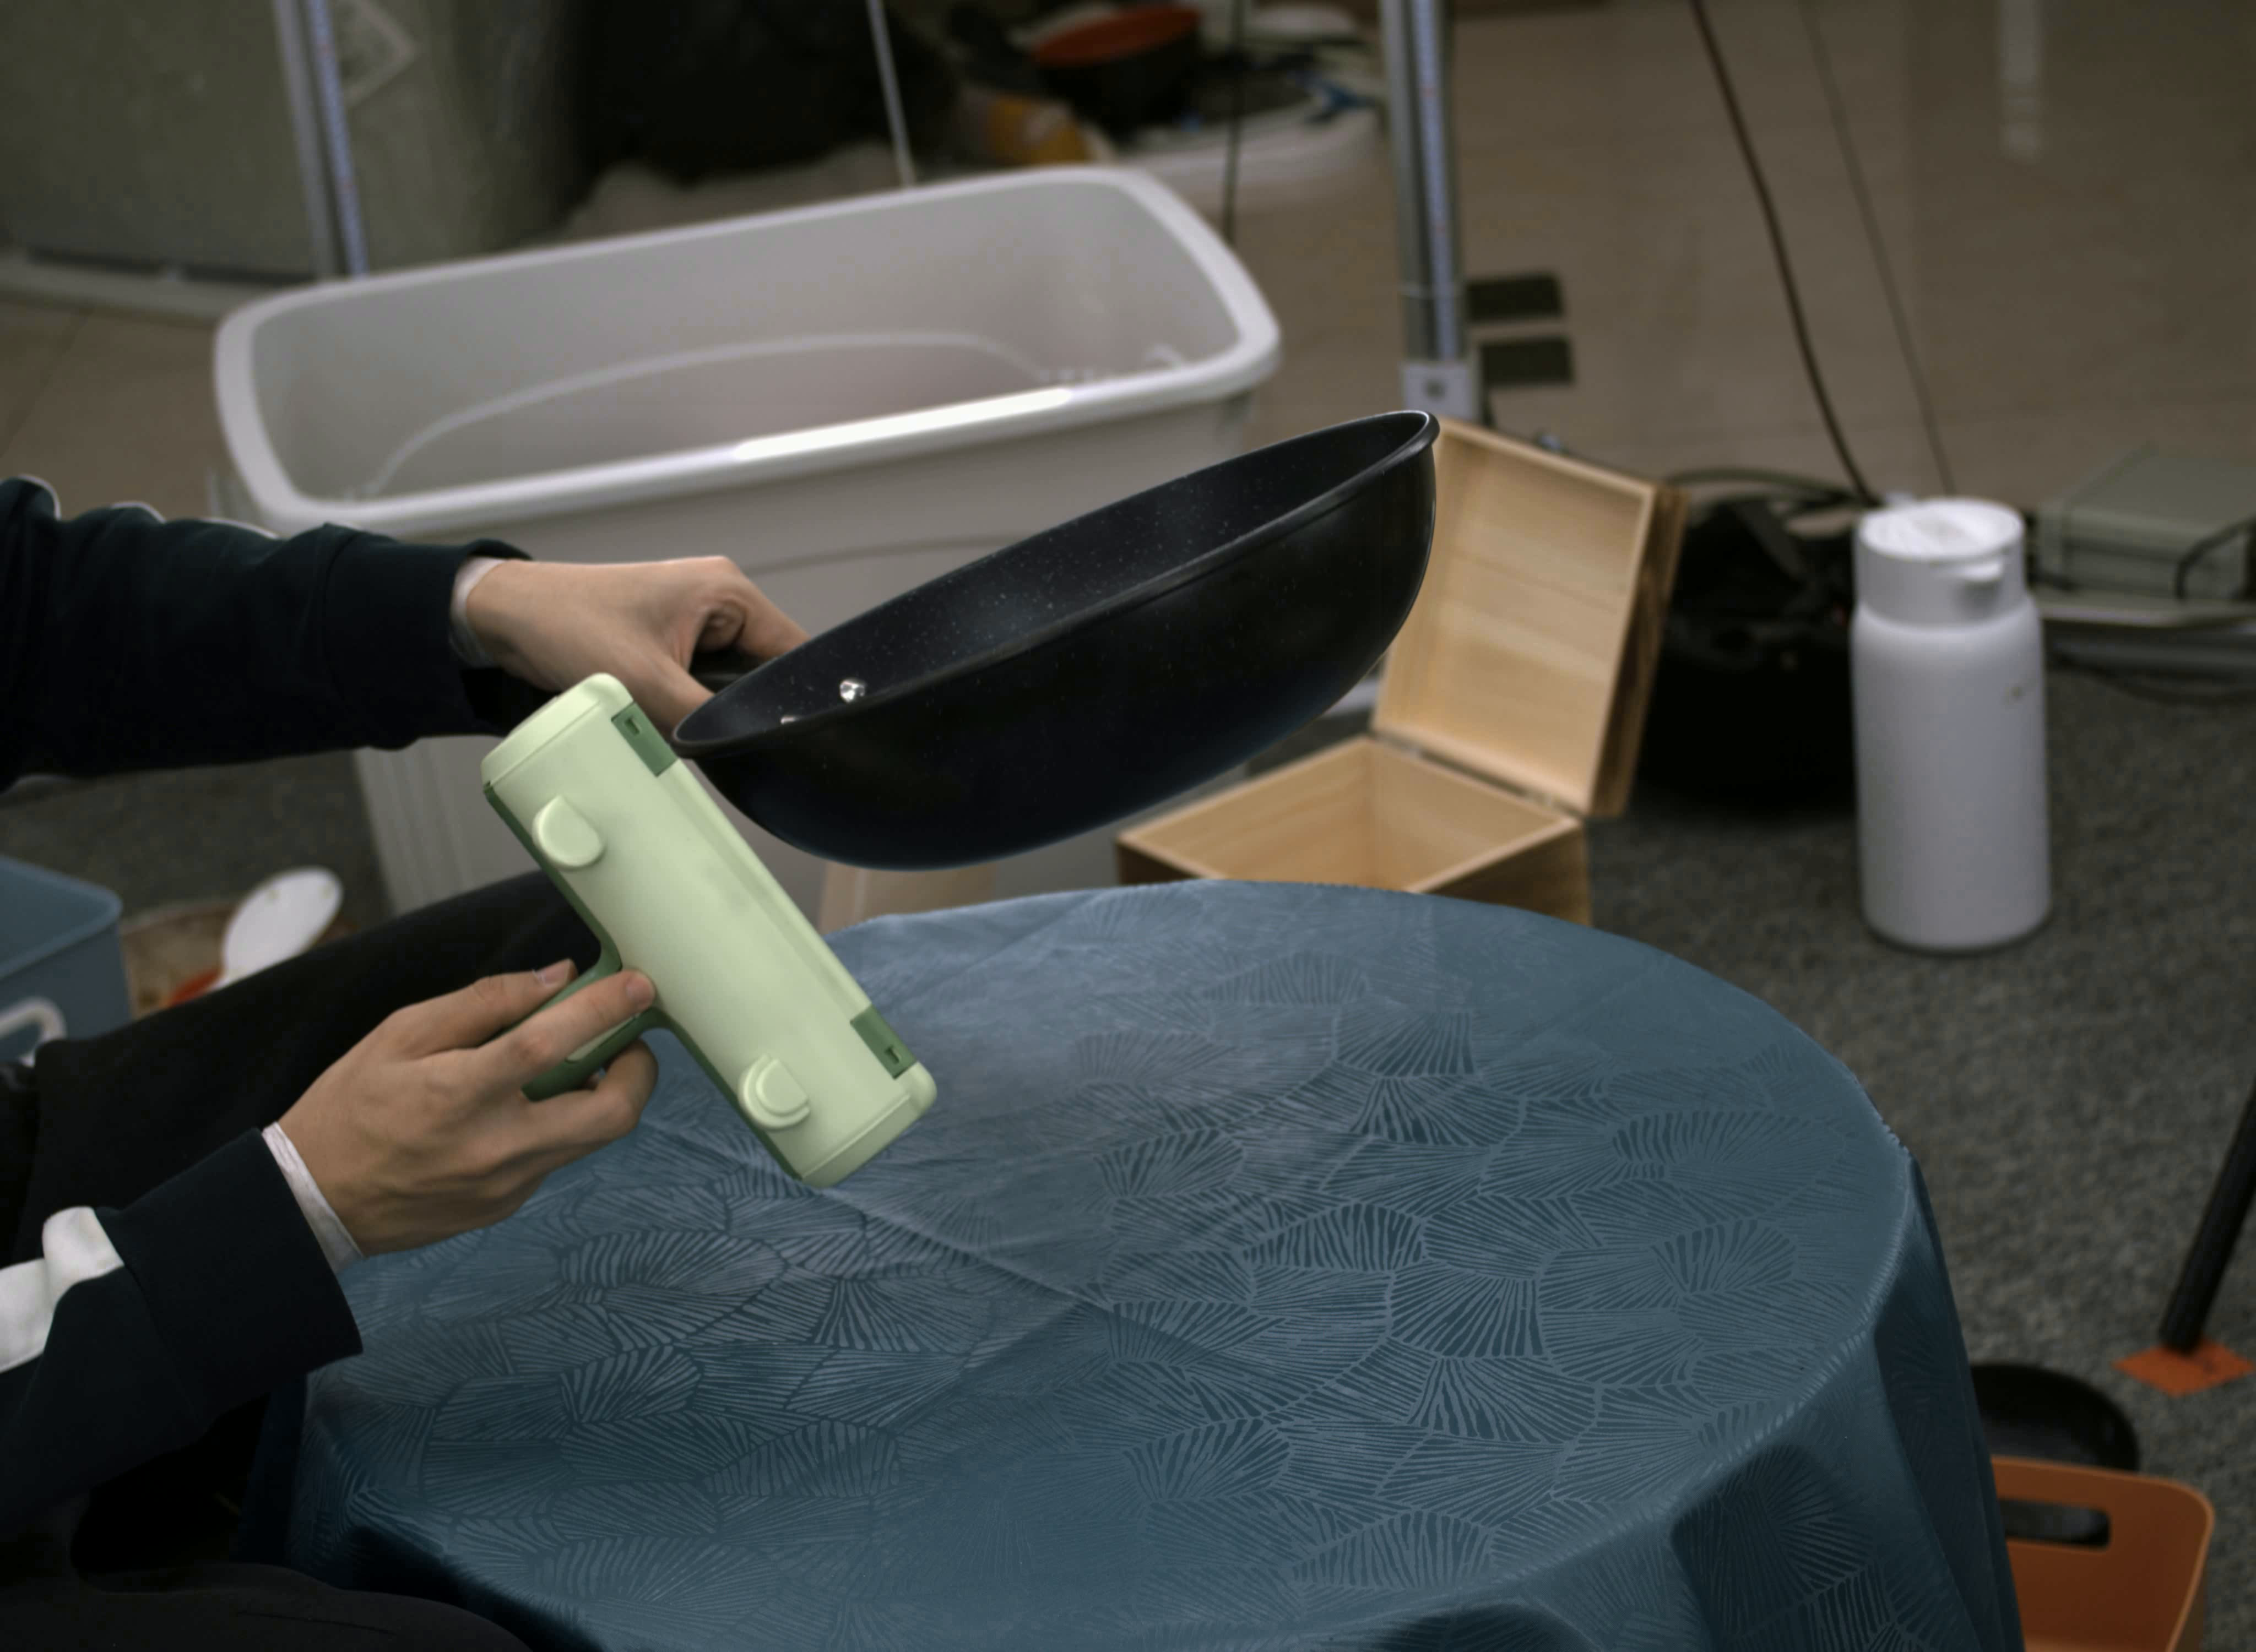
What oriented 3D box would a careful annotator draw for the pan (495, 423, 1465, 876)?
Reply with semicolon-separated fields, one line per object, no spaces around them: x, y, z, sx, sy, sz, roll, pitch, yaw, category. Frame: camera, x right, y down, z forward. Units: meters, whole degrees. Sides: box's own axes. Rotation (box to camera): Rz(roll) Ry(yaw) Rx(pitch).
-0.069;-0.050;2.152;0.478;0.112;0.307;-13;12;44;pan

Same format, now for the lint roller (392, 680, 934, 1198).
-0.195;0.075;2.007;0.184;0.199;0.081;-37;6;11;lint roller
